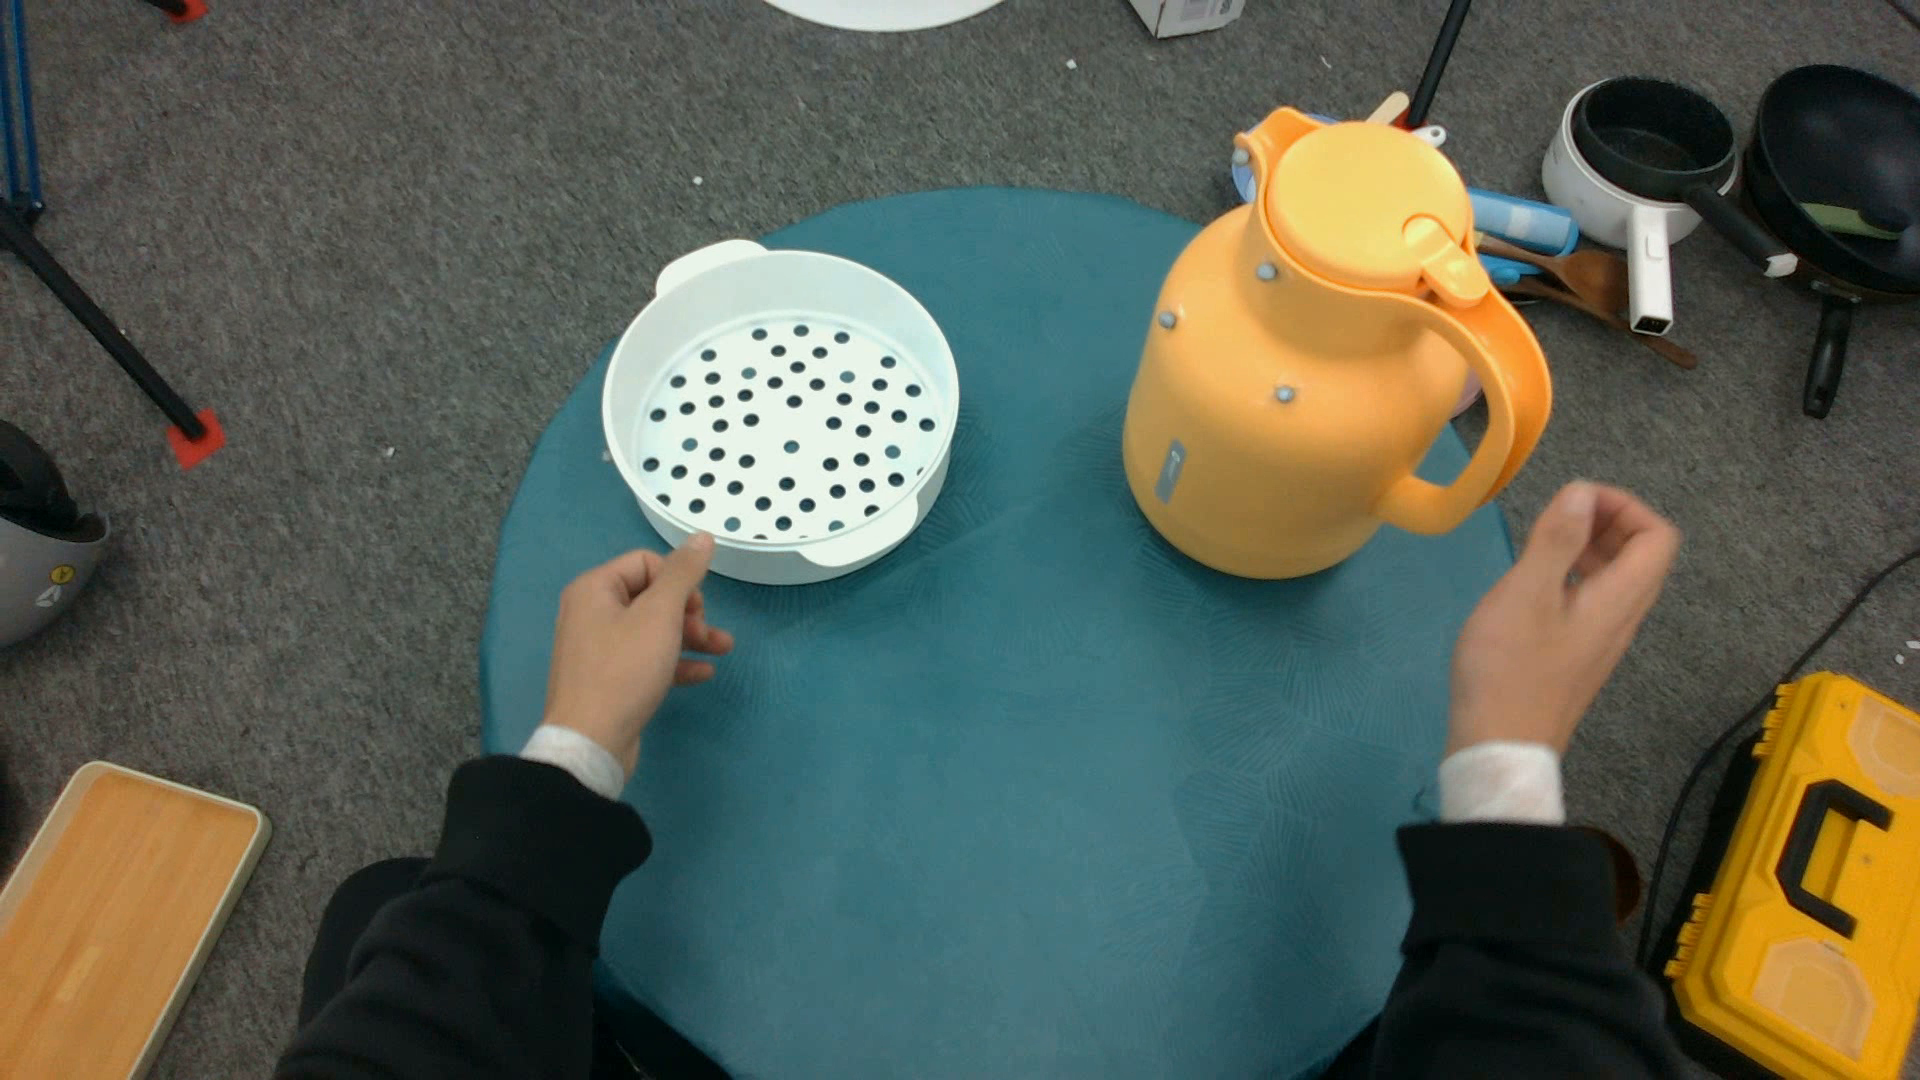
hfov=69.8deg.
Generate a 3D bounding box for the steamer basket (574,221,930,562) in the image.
[{"bbox_3d":[-0.119,-0.083,0.810,0.202,0.069,0.231,-26,67,-16],"label":"steamer basket"}]

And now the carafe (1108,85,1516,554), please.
[{"bbox_3d":[0.179,-0.096,0.719,0.164,0.259,0.202,-34,68,-15],"label":"carafe"}]
